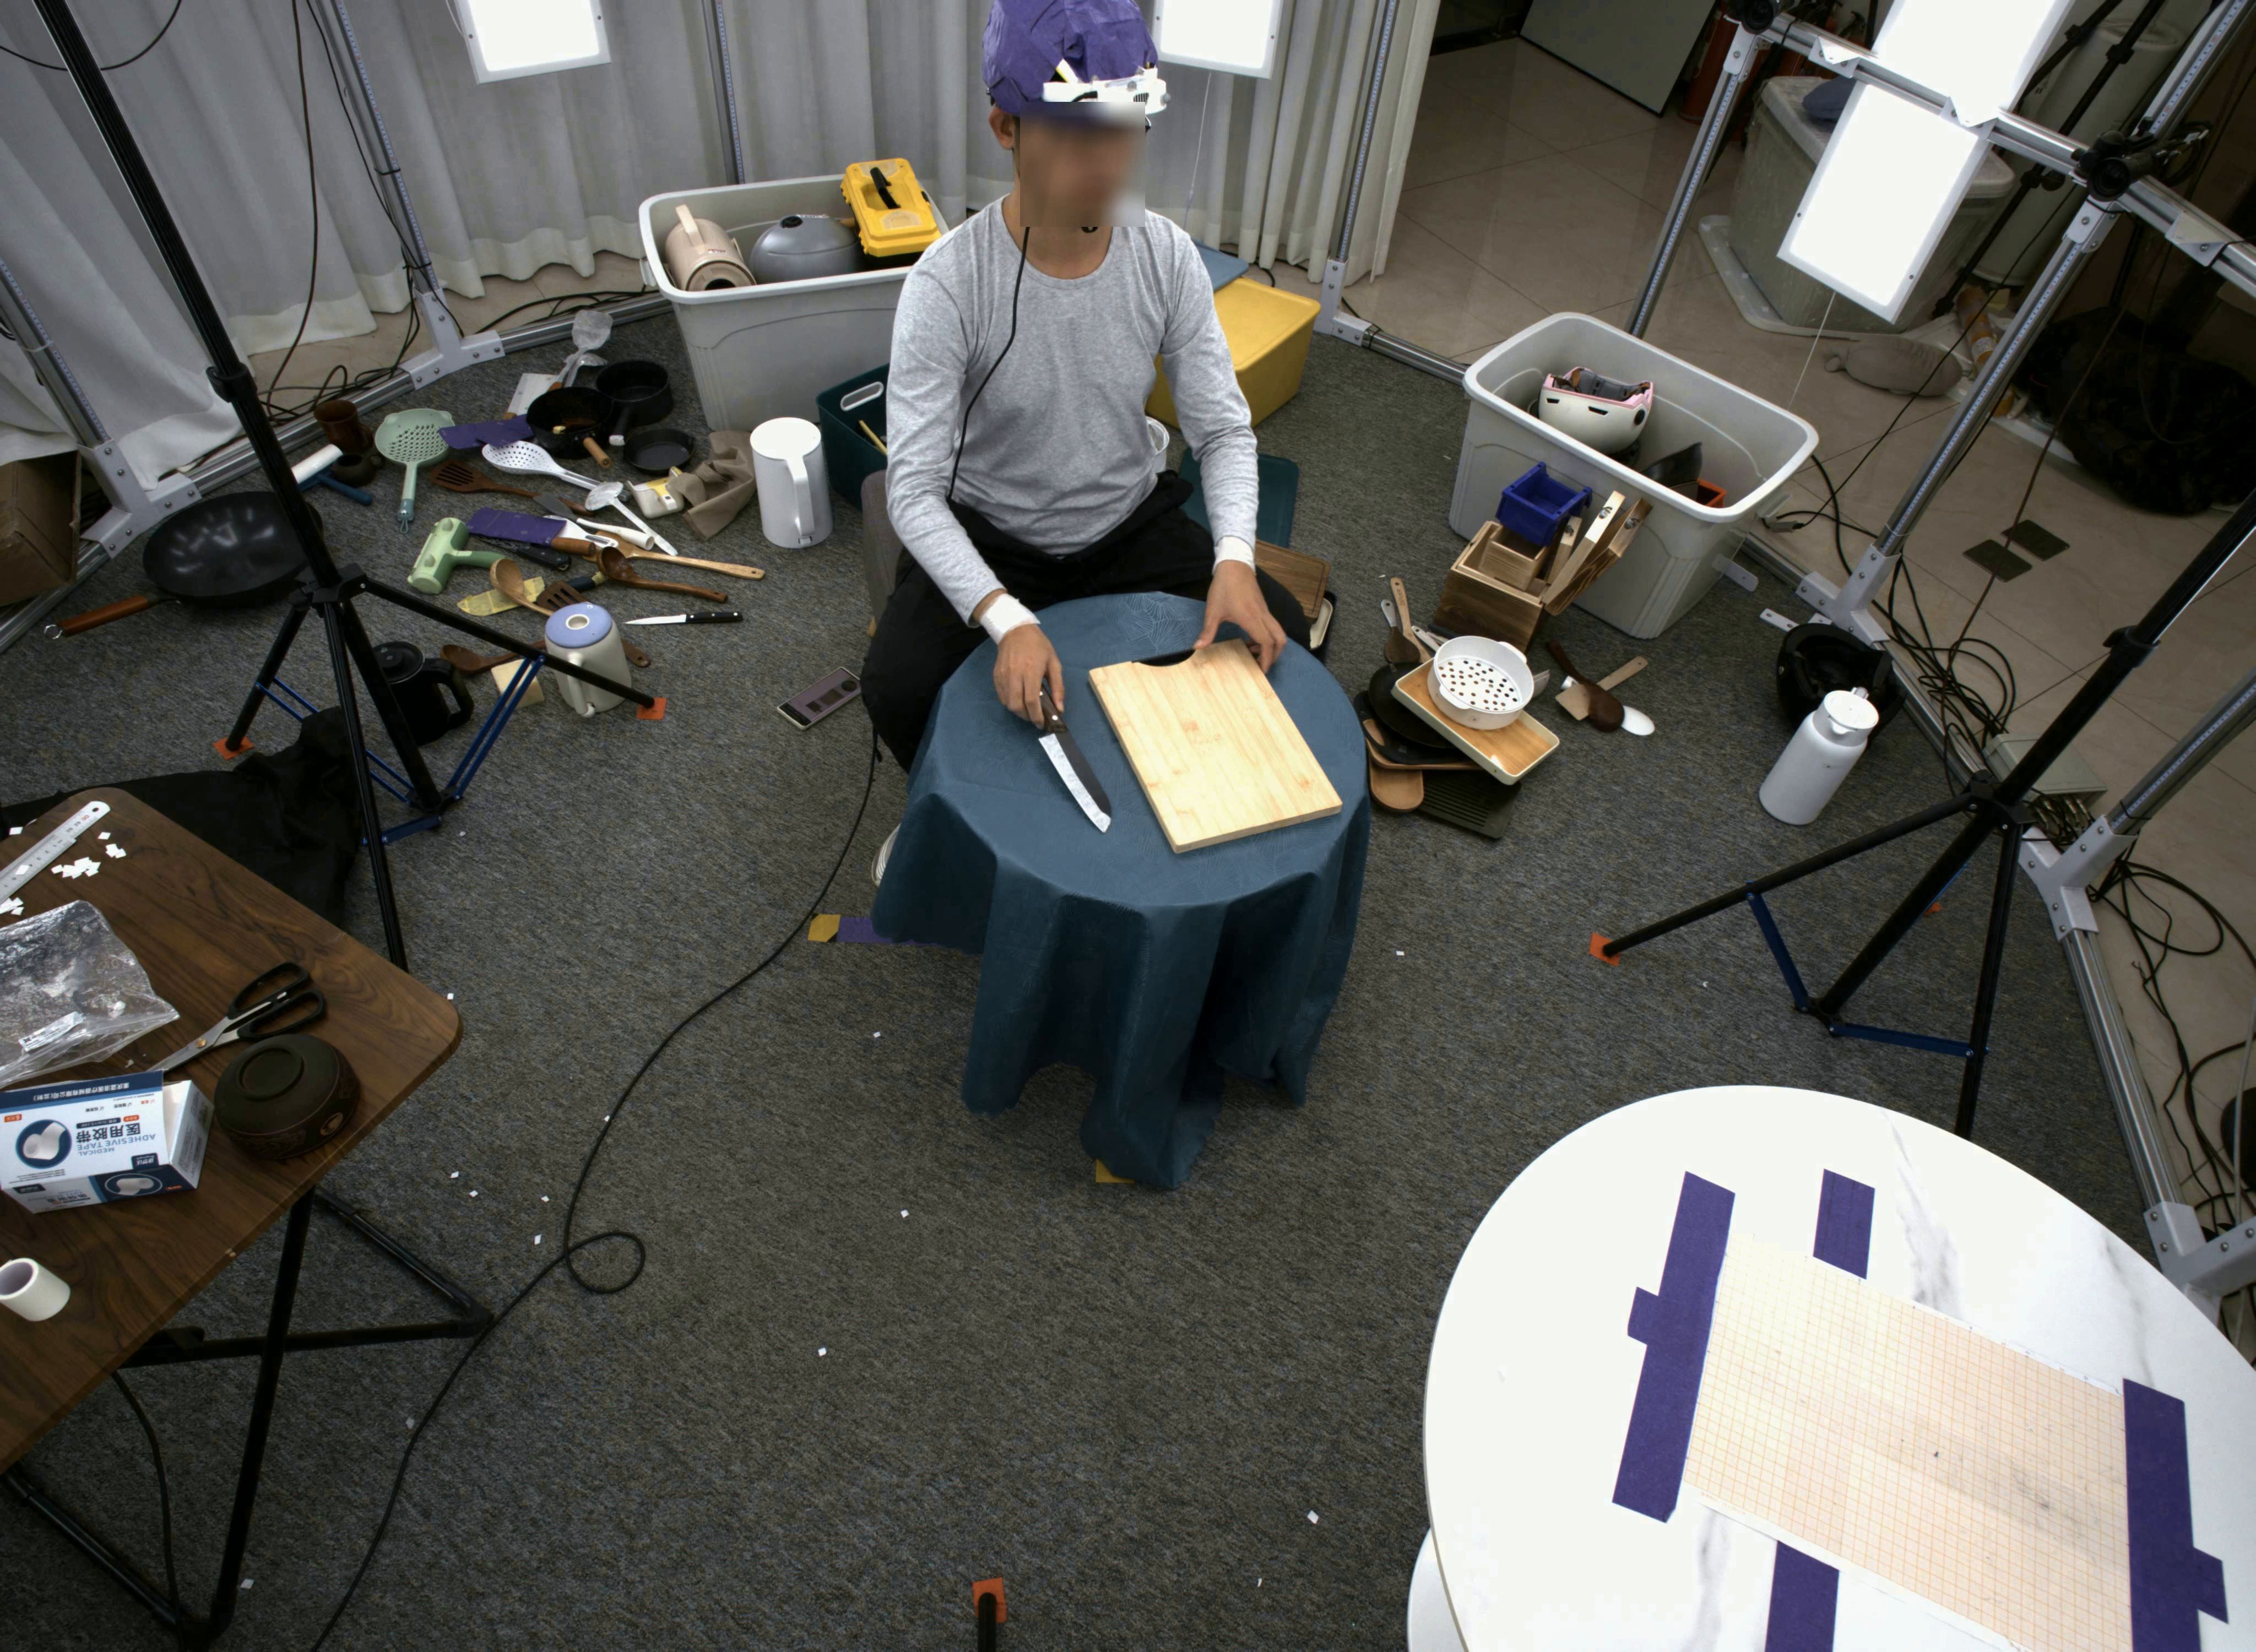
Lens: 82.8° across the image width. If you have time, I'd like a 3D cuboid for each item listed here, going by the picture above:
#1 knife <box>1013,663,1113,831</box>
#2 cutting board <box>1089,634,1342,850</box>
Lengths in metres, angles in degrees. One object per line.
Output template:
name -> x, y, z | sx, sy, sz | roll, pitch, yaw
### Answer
knife -> -0.089, -0.108, 1.720 | 0.050, 0.019, 0.295 | -19, 61, -16
cutting board -> 0.113, -0.124, 1.772 | 0.251, 0.023, 0.357 | -14, 51, -16
